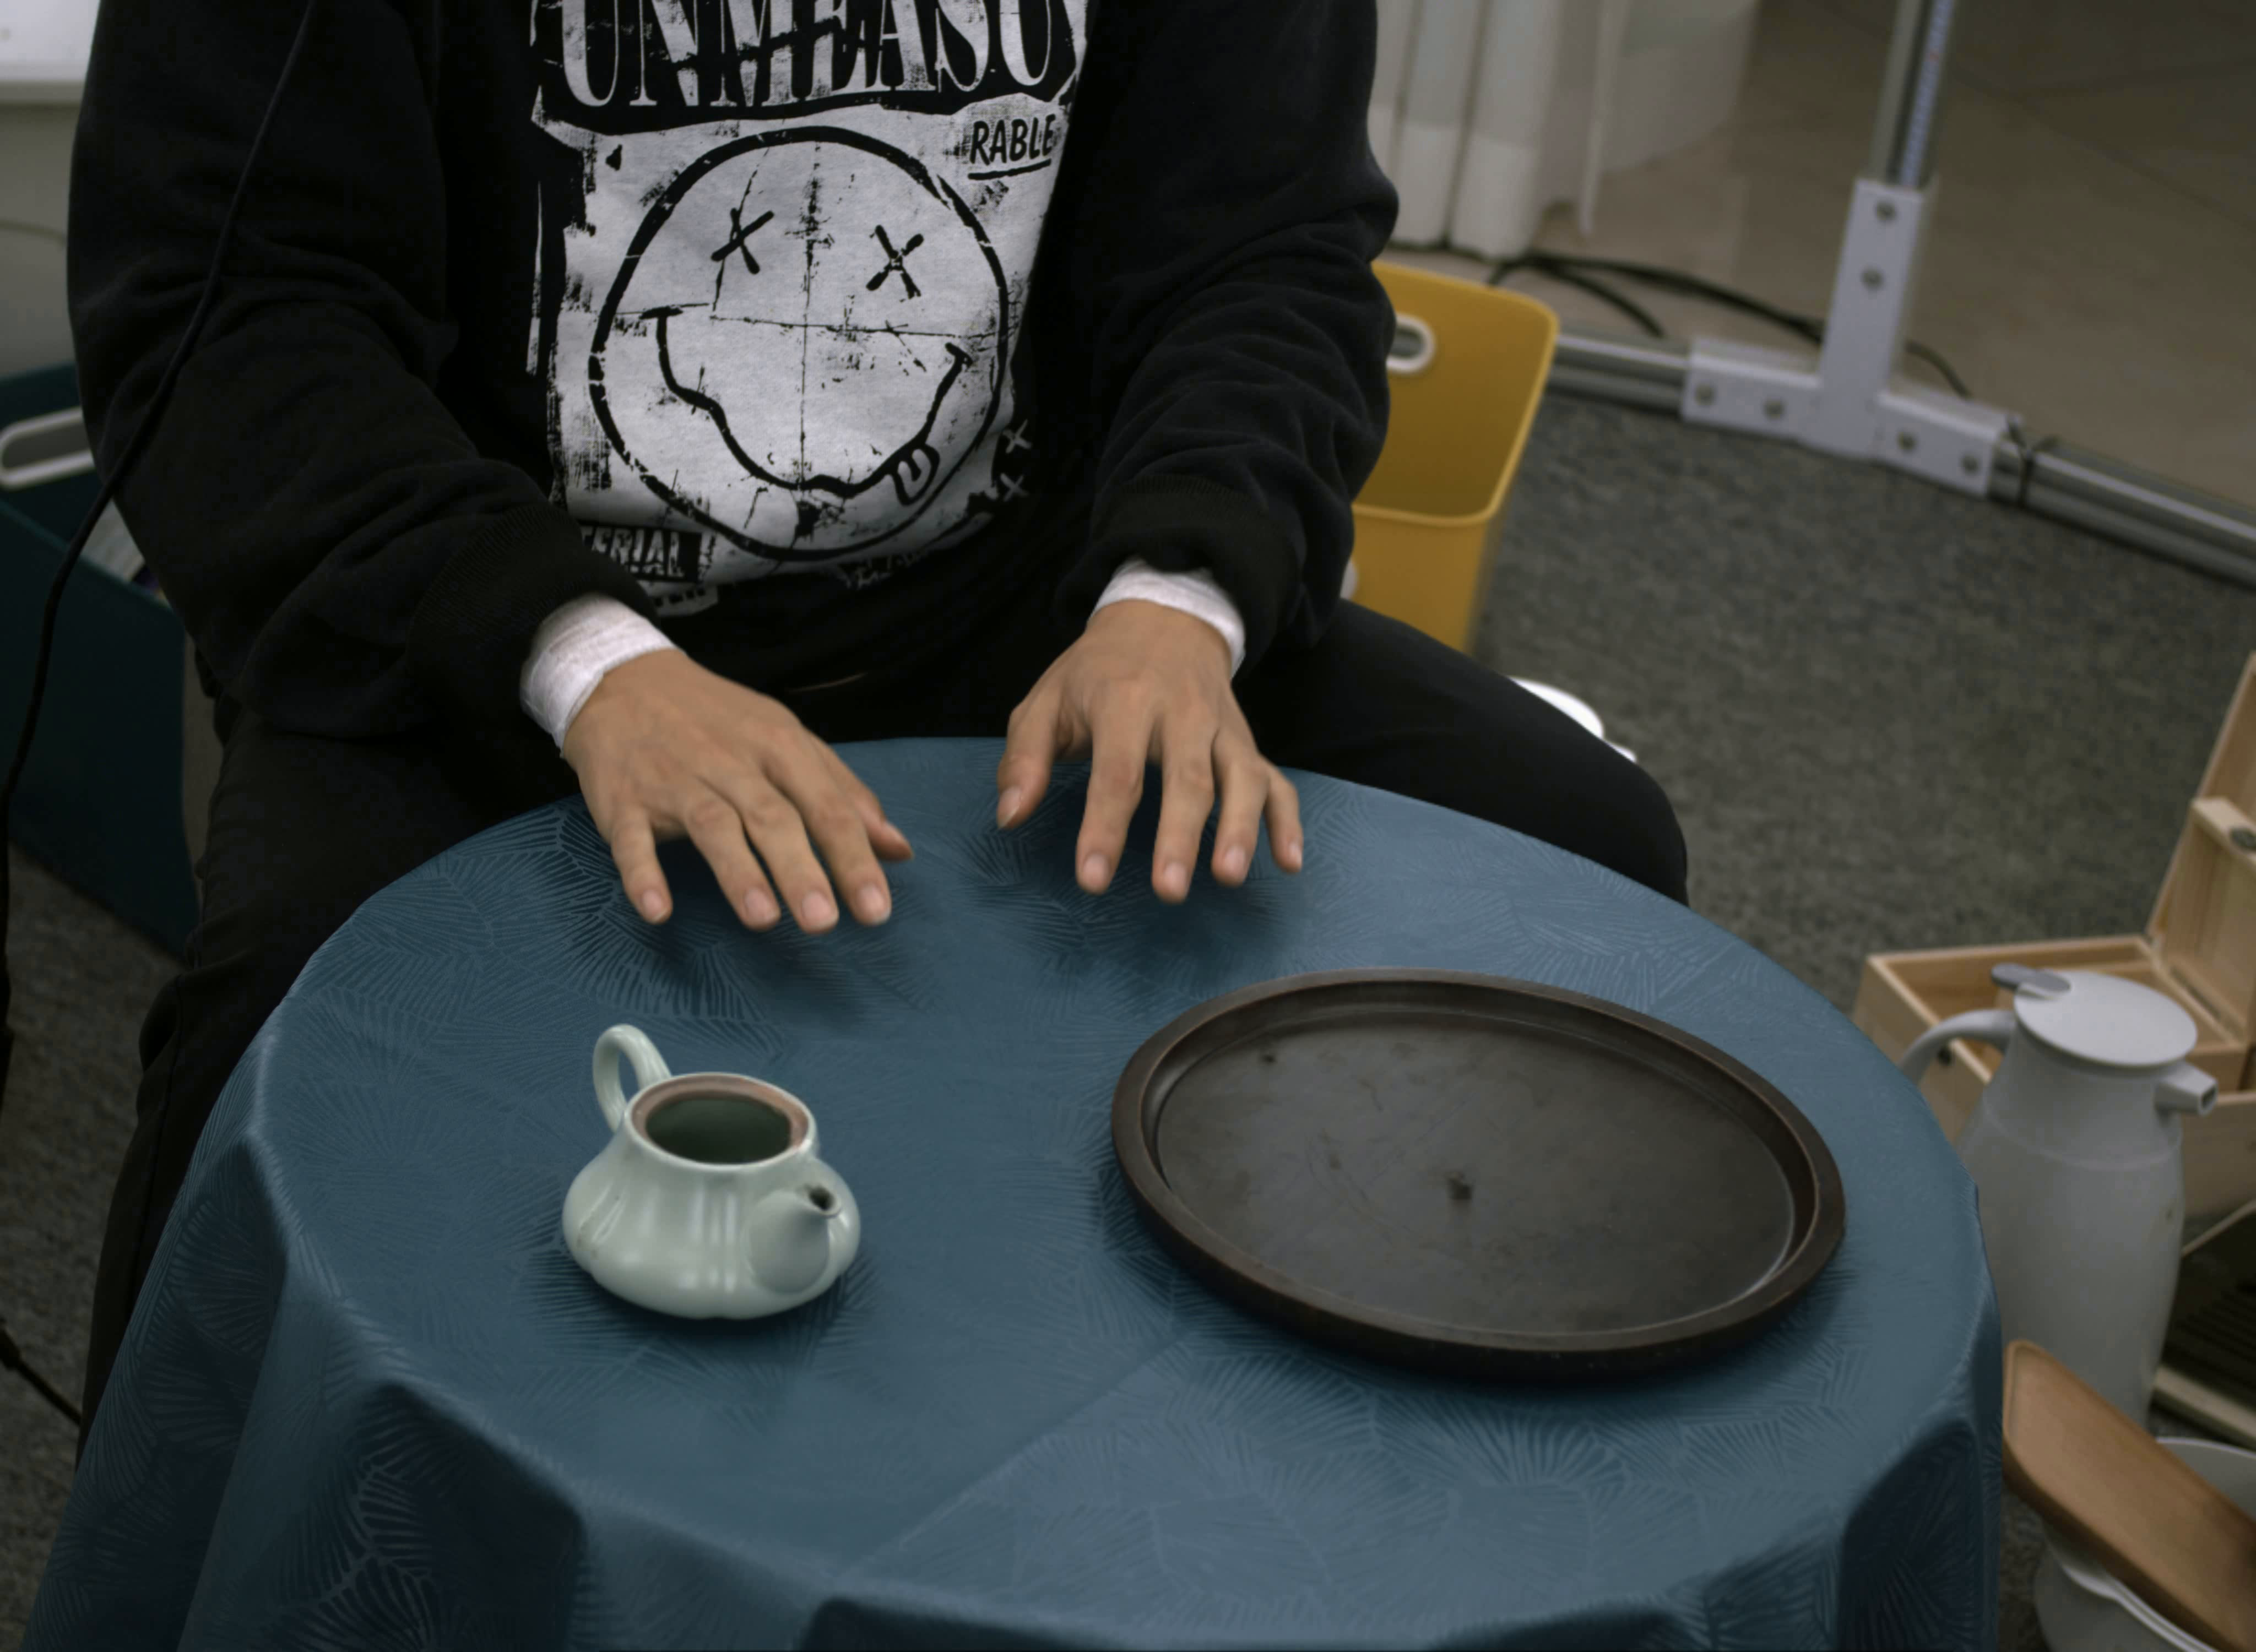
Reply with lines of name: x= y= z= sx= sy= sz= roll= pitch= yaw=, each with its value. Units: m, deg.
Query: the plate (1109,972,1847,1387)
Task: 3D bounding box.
plate: x=0.118 y=0.118 z=1.816 sx=0.254 sy=0.029 sz=0.256 roll=5 pitch=28 yaw=-3

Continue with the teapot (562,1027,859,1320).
teapot: x=-0.137 y=0.116 z=1.724 sx=0.095 sy=0.061 sz=0.138 roll=-17 pitch=35 yaw=-36
